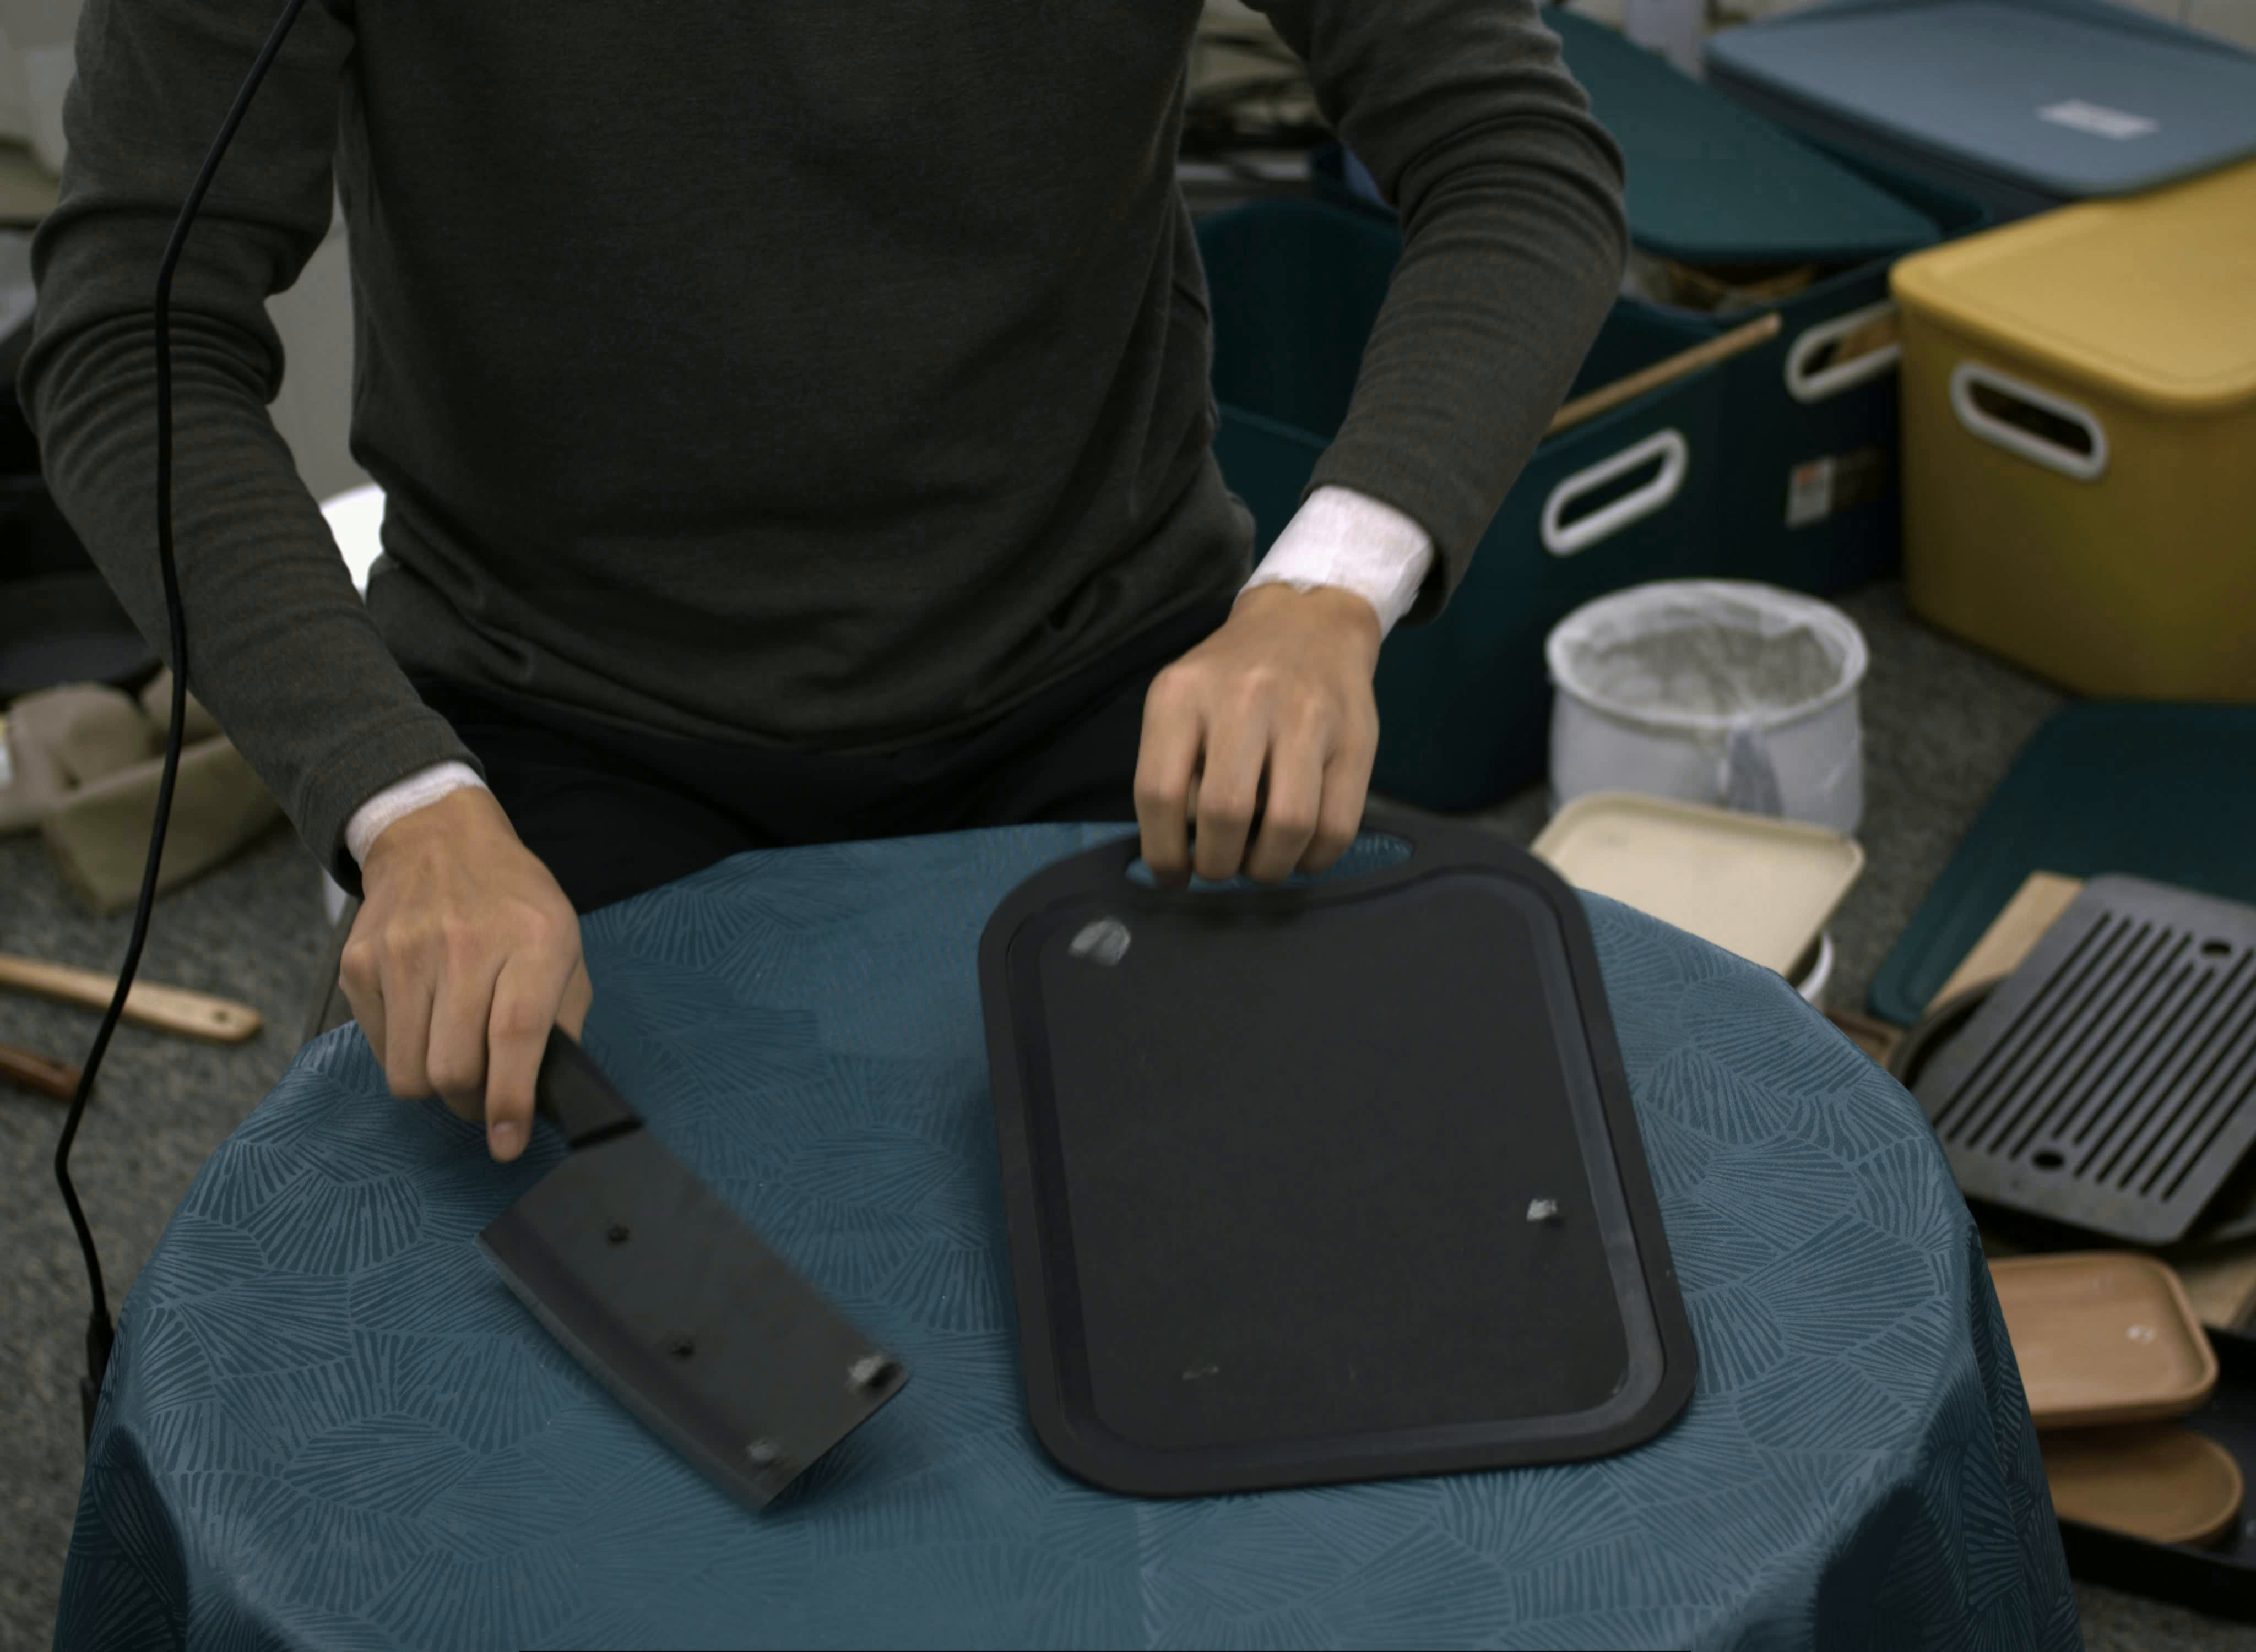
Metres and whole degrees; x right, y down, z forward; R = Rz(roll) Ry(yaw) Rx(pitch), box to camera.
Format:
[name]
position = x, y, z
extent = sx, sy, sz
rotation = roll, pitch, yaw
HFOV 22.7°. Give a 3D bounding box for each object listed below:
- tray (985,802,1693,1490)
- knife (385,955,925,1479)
[tray]
position = 0.062, 0.095, 1.834
extent = 0.210, 0.009, 0.331
rotation = -3, 39, -3
[knife]
position = -0.166, 0.120, 1.812
extent = 0.081, 0.020, 0.304
rotation = -37, 41, -11
